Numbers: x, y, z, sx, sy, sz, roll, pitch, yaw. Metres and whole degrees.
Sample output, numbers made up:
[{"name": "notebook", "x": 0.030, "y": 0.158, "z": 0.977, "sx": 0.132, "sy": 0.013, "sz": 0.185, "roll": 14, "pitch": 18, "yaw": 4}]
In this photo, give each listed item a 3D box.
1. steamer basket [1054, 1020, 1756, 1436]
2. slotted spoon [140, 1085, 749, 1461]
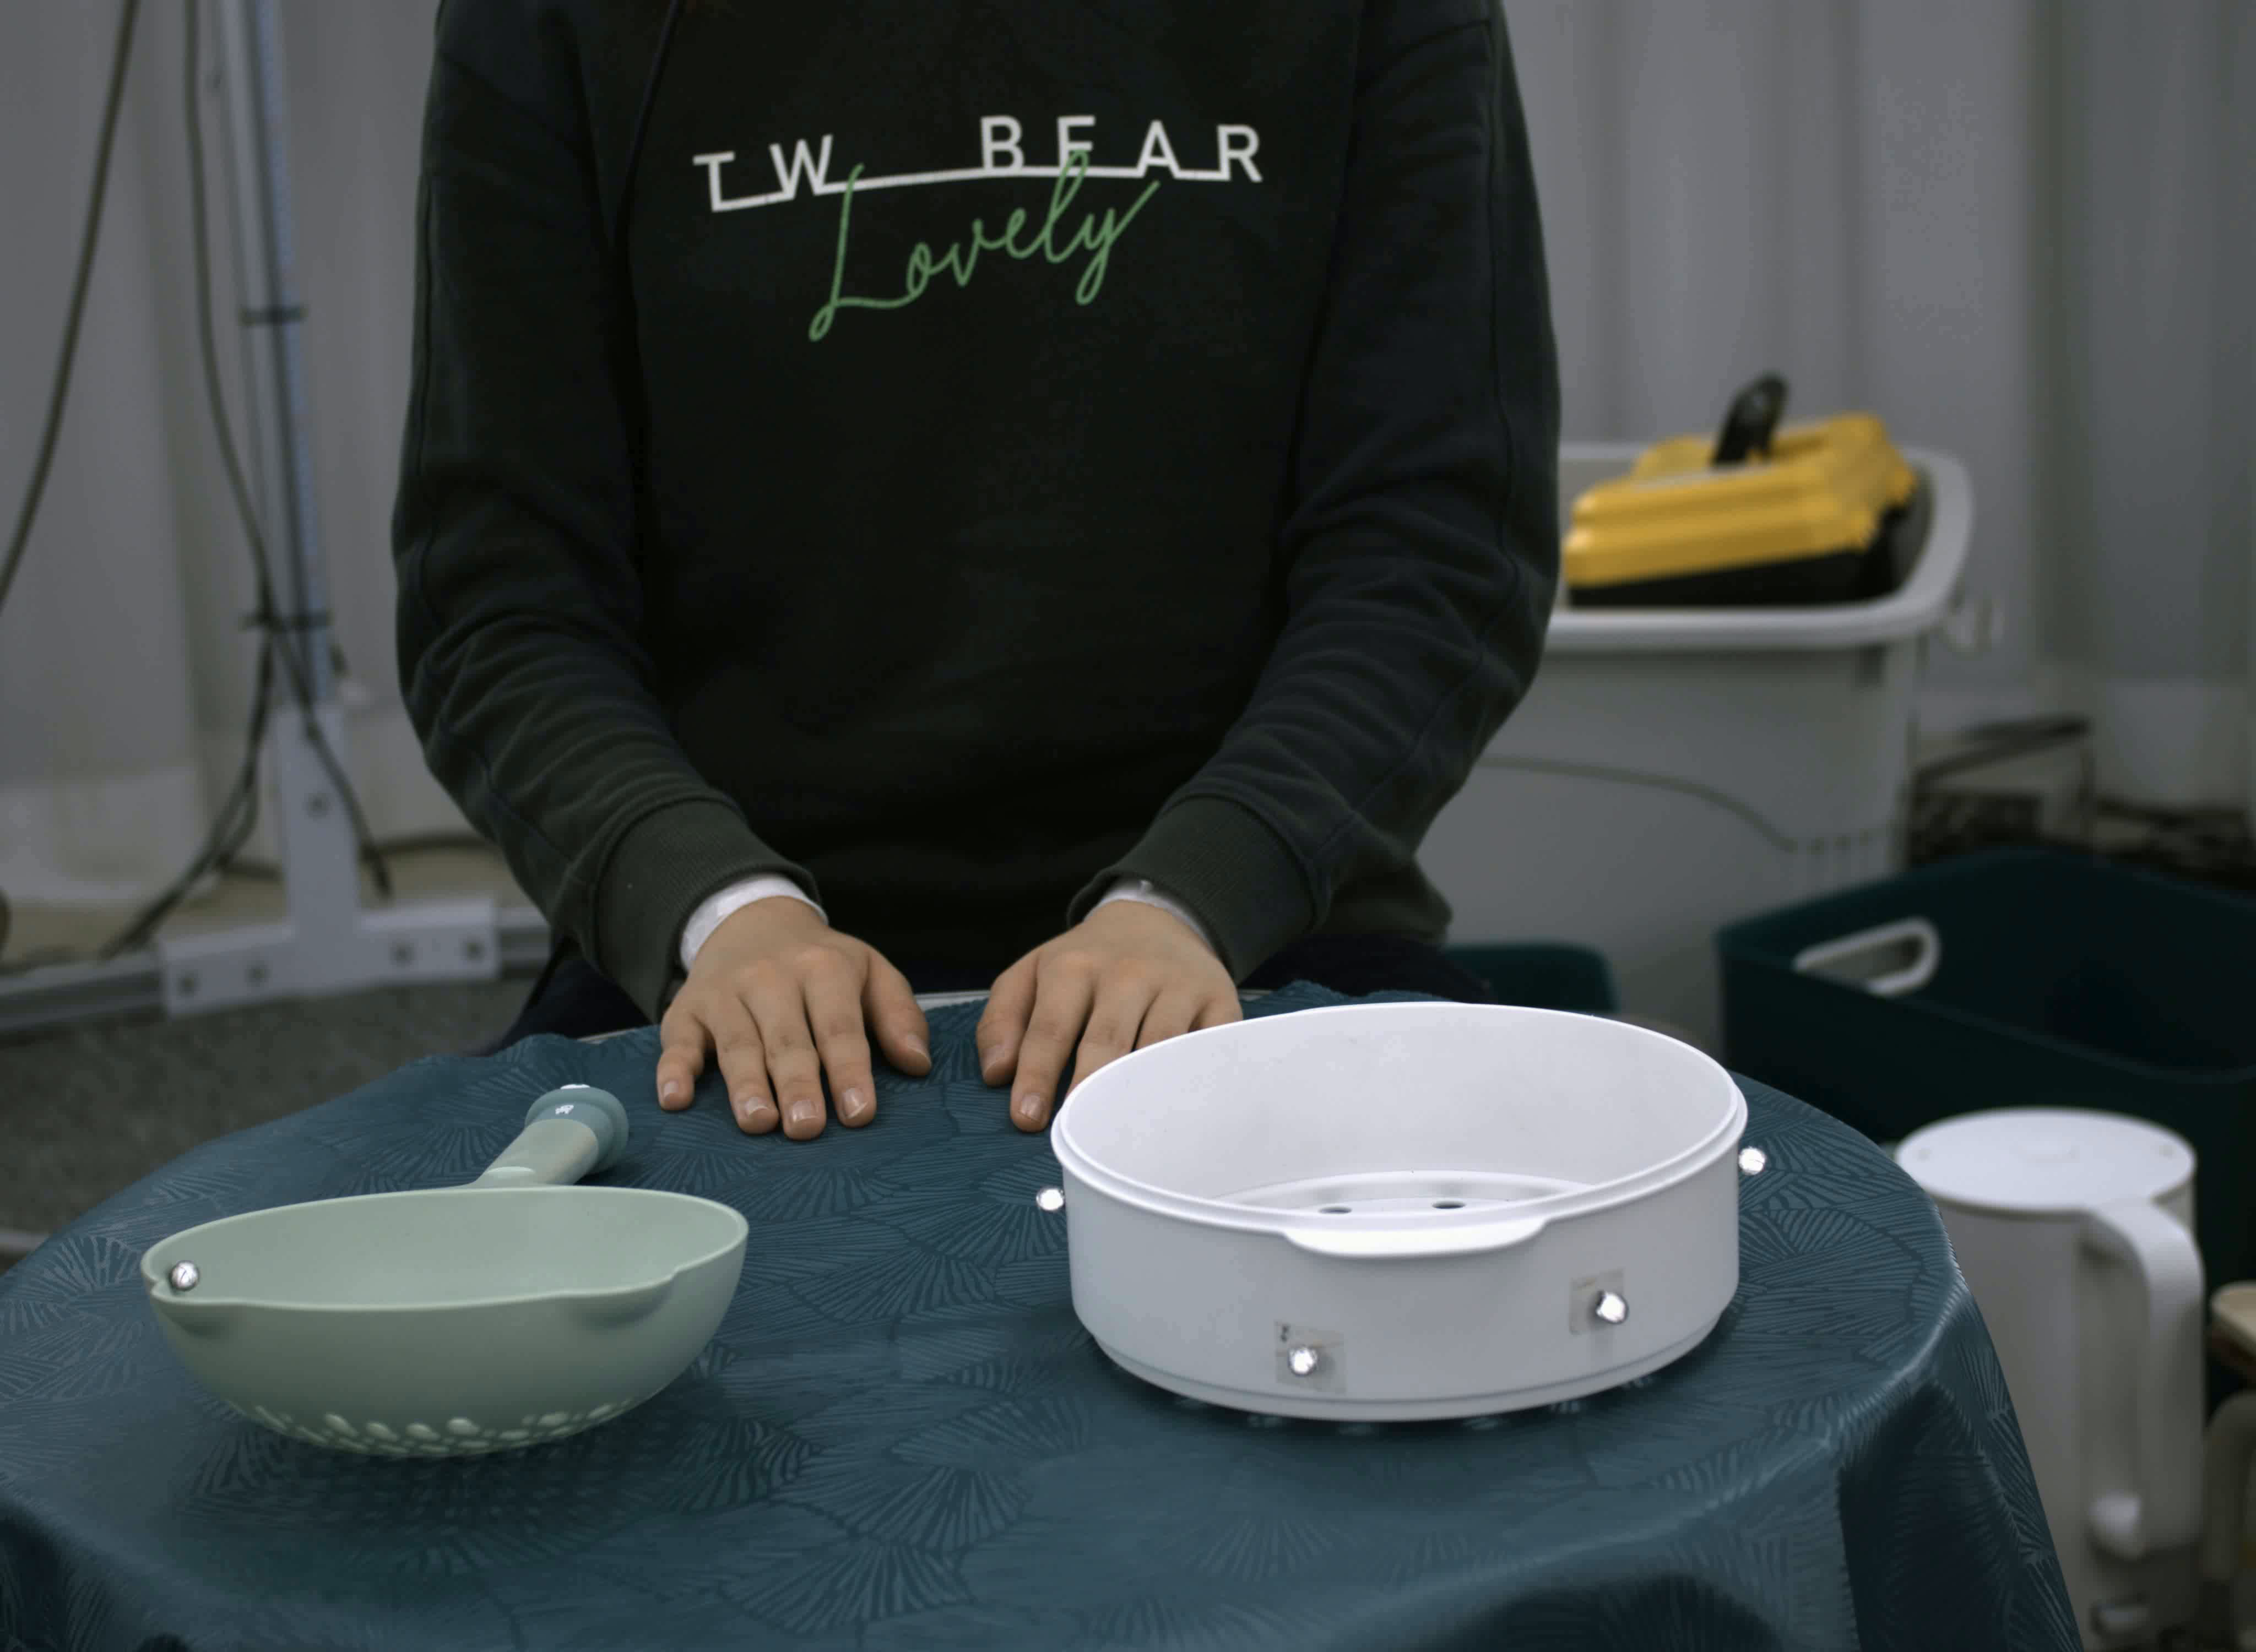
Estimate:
[{"name": "steamer basket", "x": 0.080, "y": 0.115, "z": 1.575, "sx": 0.201, "sy": 0.069, "sz": 0.232, "roll": -2, "pitch": 14, "yaw": 0}, {"name": "slotted spoon", "x": -0.183, "y": 0.116, "z": 1.619, "sx": 0.169, "sy": 0.075, "sz": 0.361, "roll": -1, "pitch": 15, "yaw": 4}]
